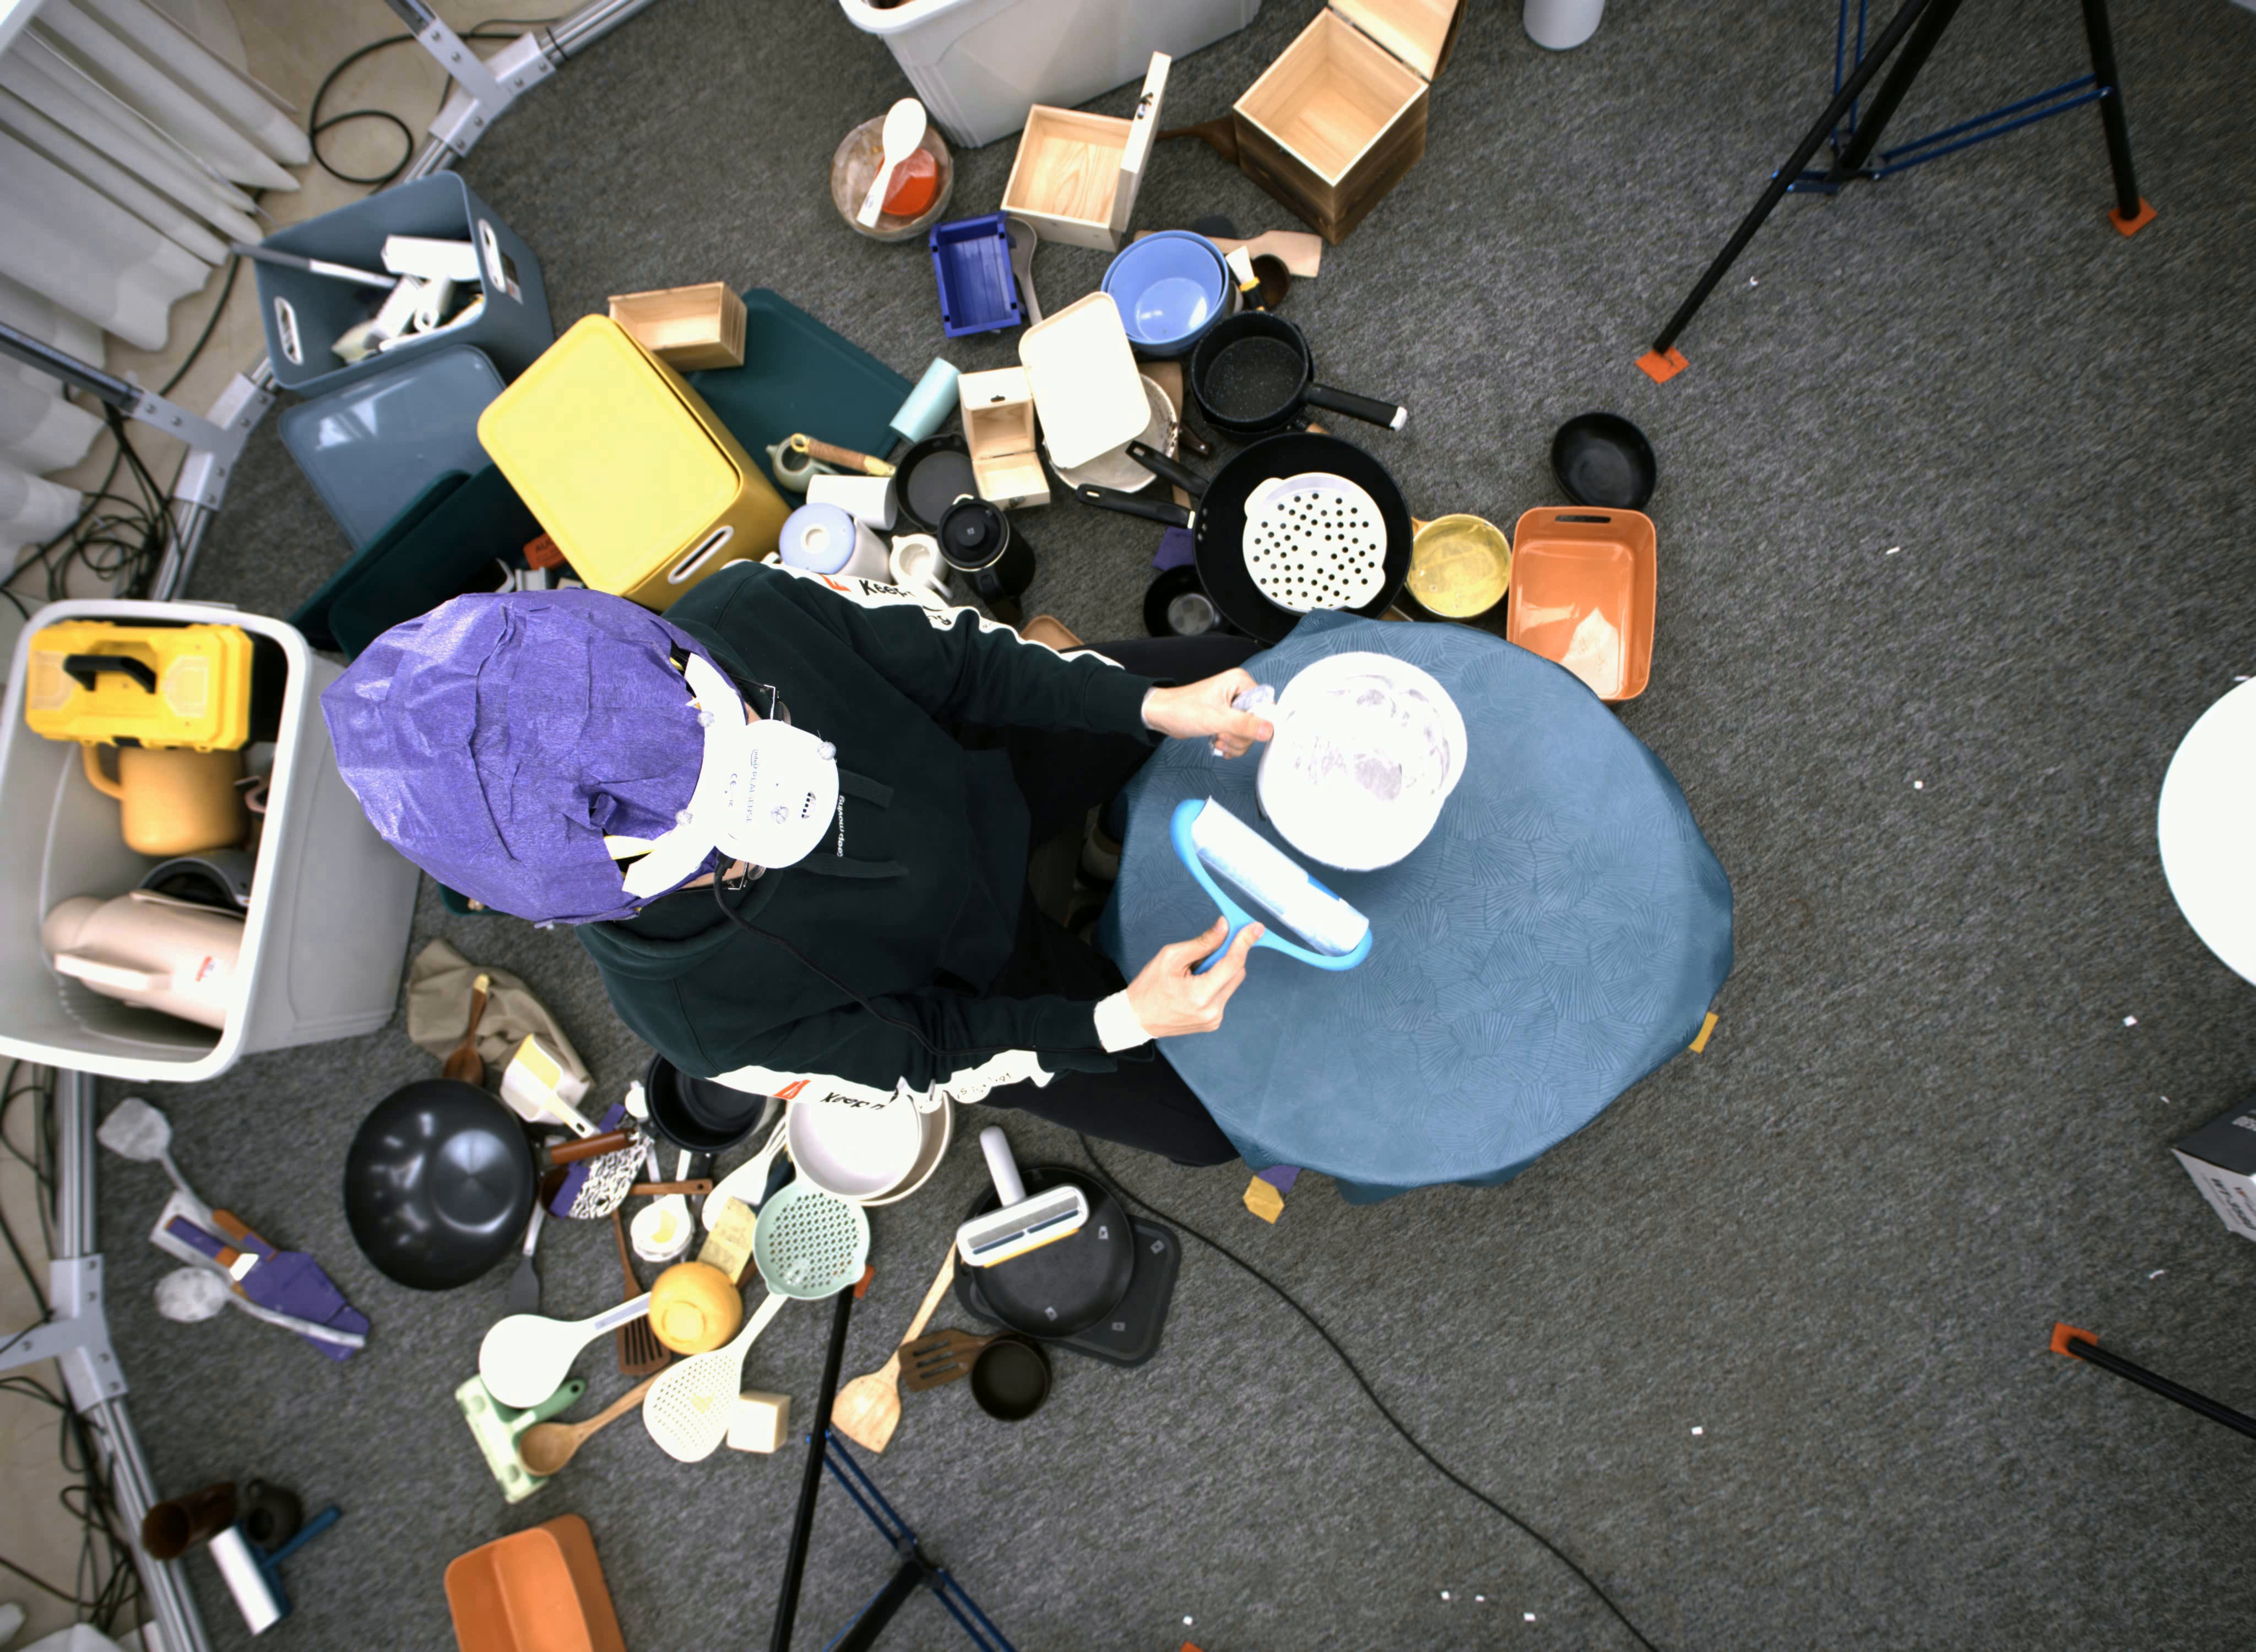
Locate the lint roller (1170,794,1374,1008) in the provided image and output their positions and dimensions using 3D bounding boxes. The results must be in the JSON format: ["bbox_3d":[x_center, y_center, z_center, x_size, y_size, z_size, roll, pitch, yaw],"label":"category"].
[{"bbox_3d":[0.106,0.096,1.297,0.230,0.068,0.179,33,85,-10],"label":"lint roller"}]

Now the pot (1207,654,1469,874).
[{"bbox_3d":[0.189,-0.064,1.296,0.234,0.139,0.175,22,66,5],"label":"pot"}]
